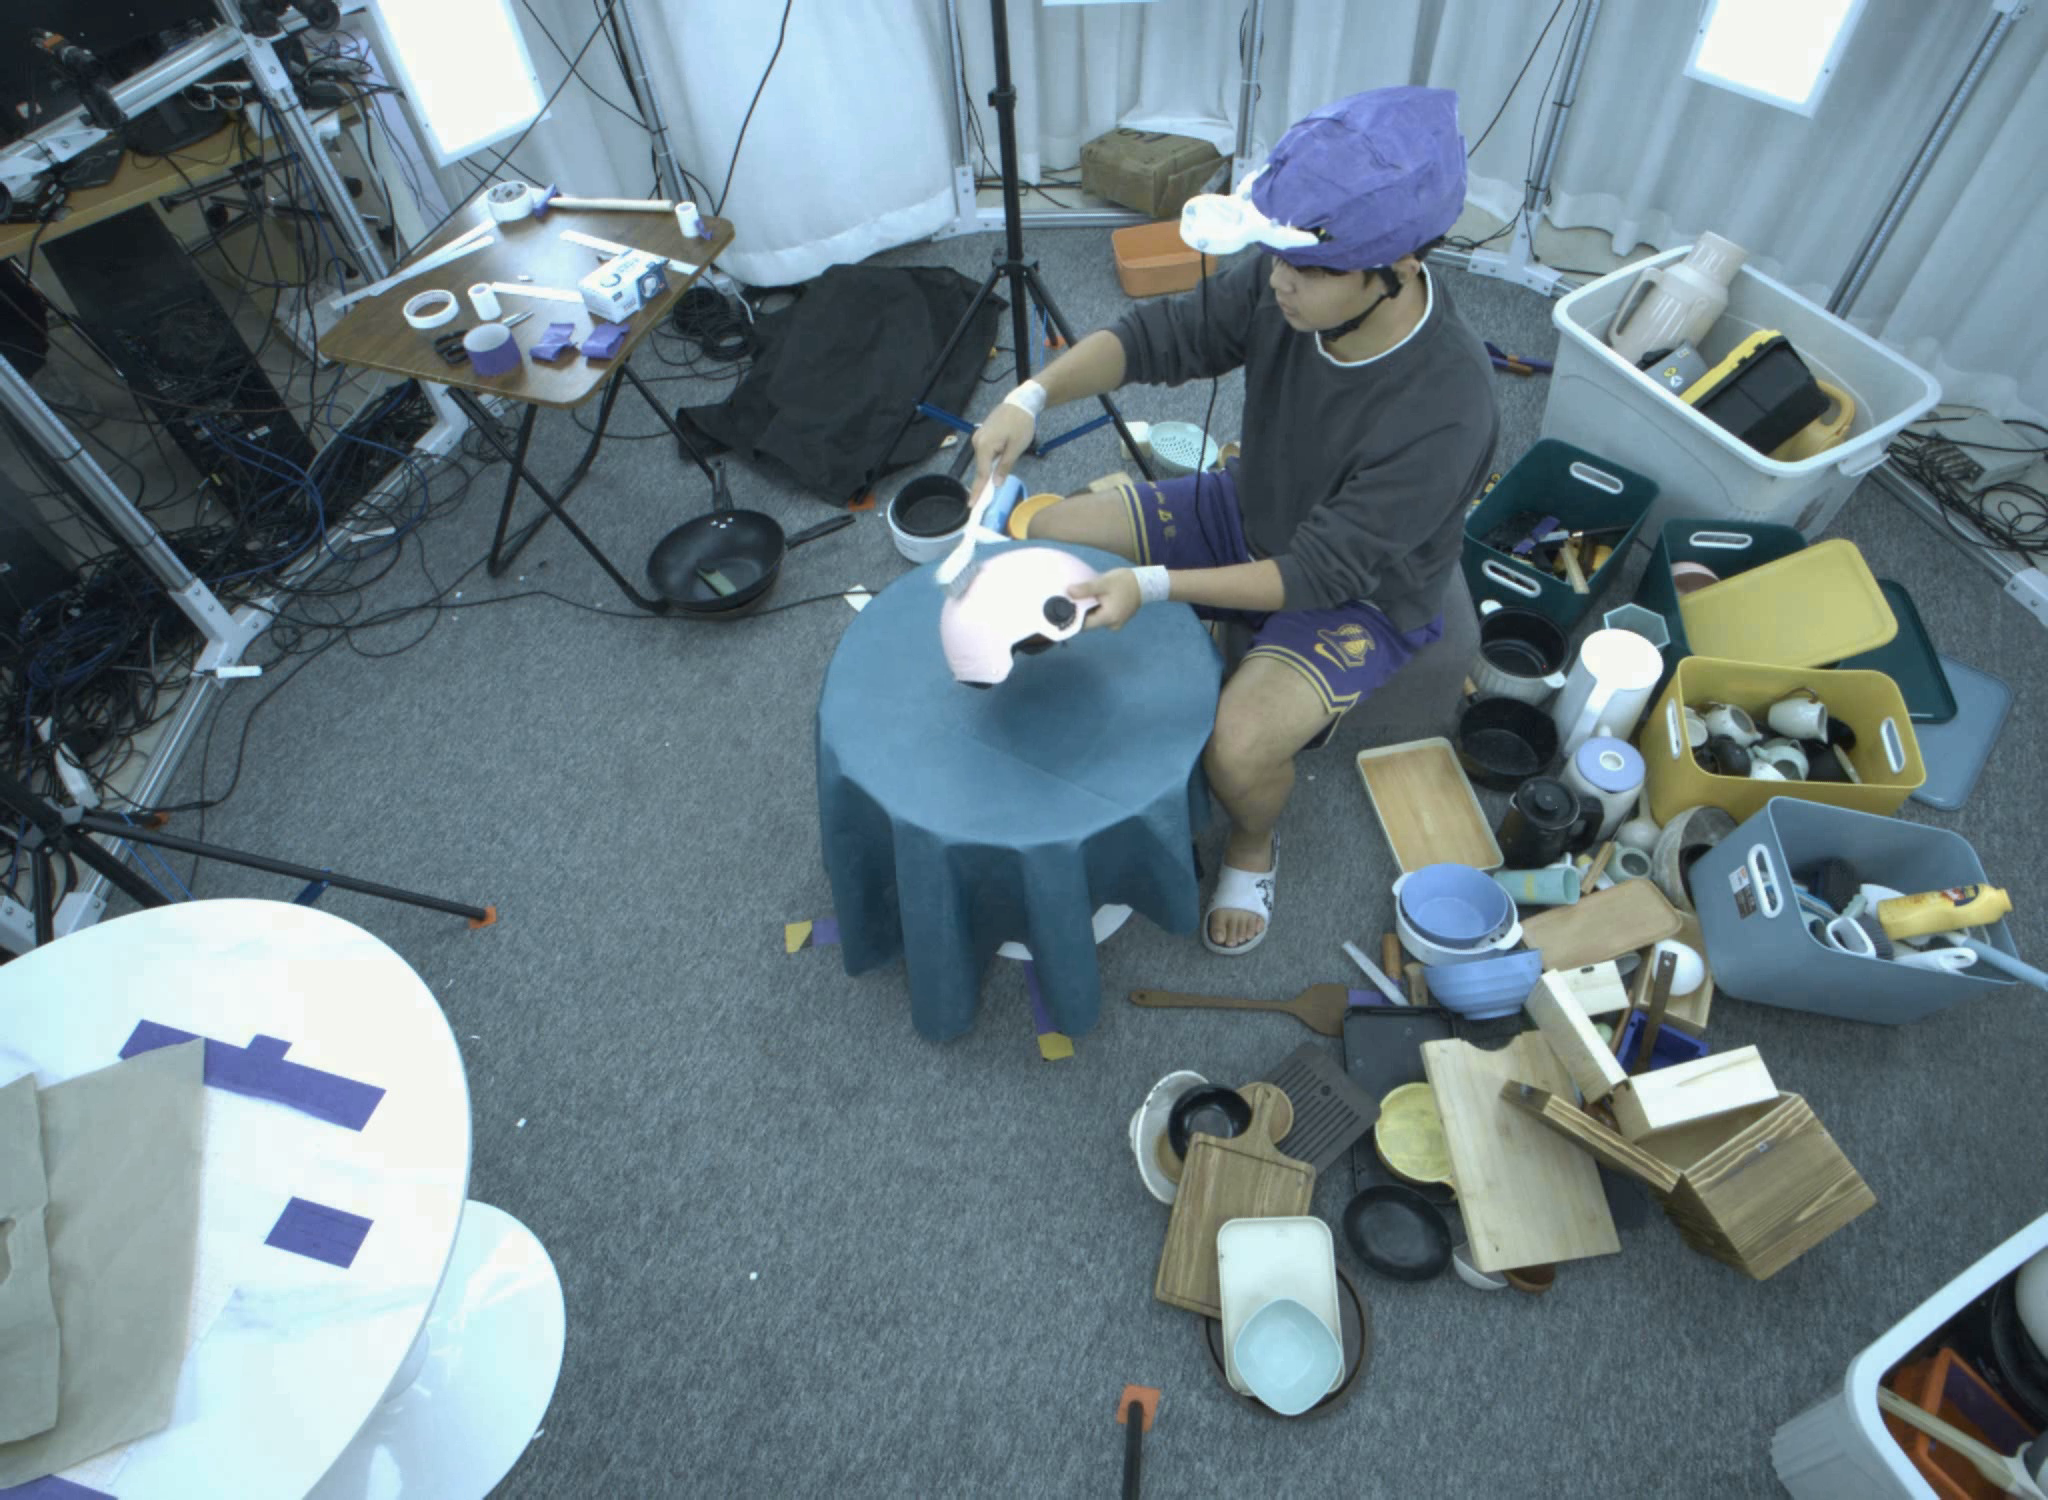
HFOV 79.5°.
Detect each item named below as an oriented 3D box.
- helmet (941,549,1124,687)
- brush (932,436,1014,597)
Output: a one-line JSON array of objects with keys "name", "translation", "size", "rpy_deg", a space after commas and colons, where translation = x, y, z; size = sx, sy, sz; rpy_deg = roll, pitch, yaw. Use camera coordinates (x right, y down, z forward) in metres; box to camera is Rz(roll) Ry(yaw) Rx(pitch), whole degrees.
[{"name": "helmet", "translation": [-0.006, -0.205, 1.752], "size": [0.267, 0.232, 0.159], "rpy_deg": [-28, 94, -9]}, {"name": "brush", "translation": [-0.058, -0.322, 1.687], "size": [0.033, 0.051, 0.243], "rpy_deg": [15, 77, 49]}]
